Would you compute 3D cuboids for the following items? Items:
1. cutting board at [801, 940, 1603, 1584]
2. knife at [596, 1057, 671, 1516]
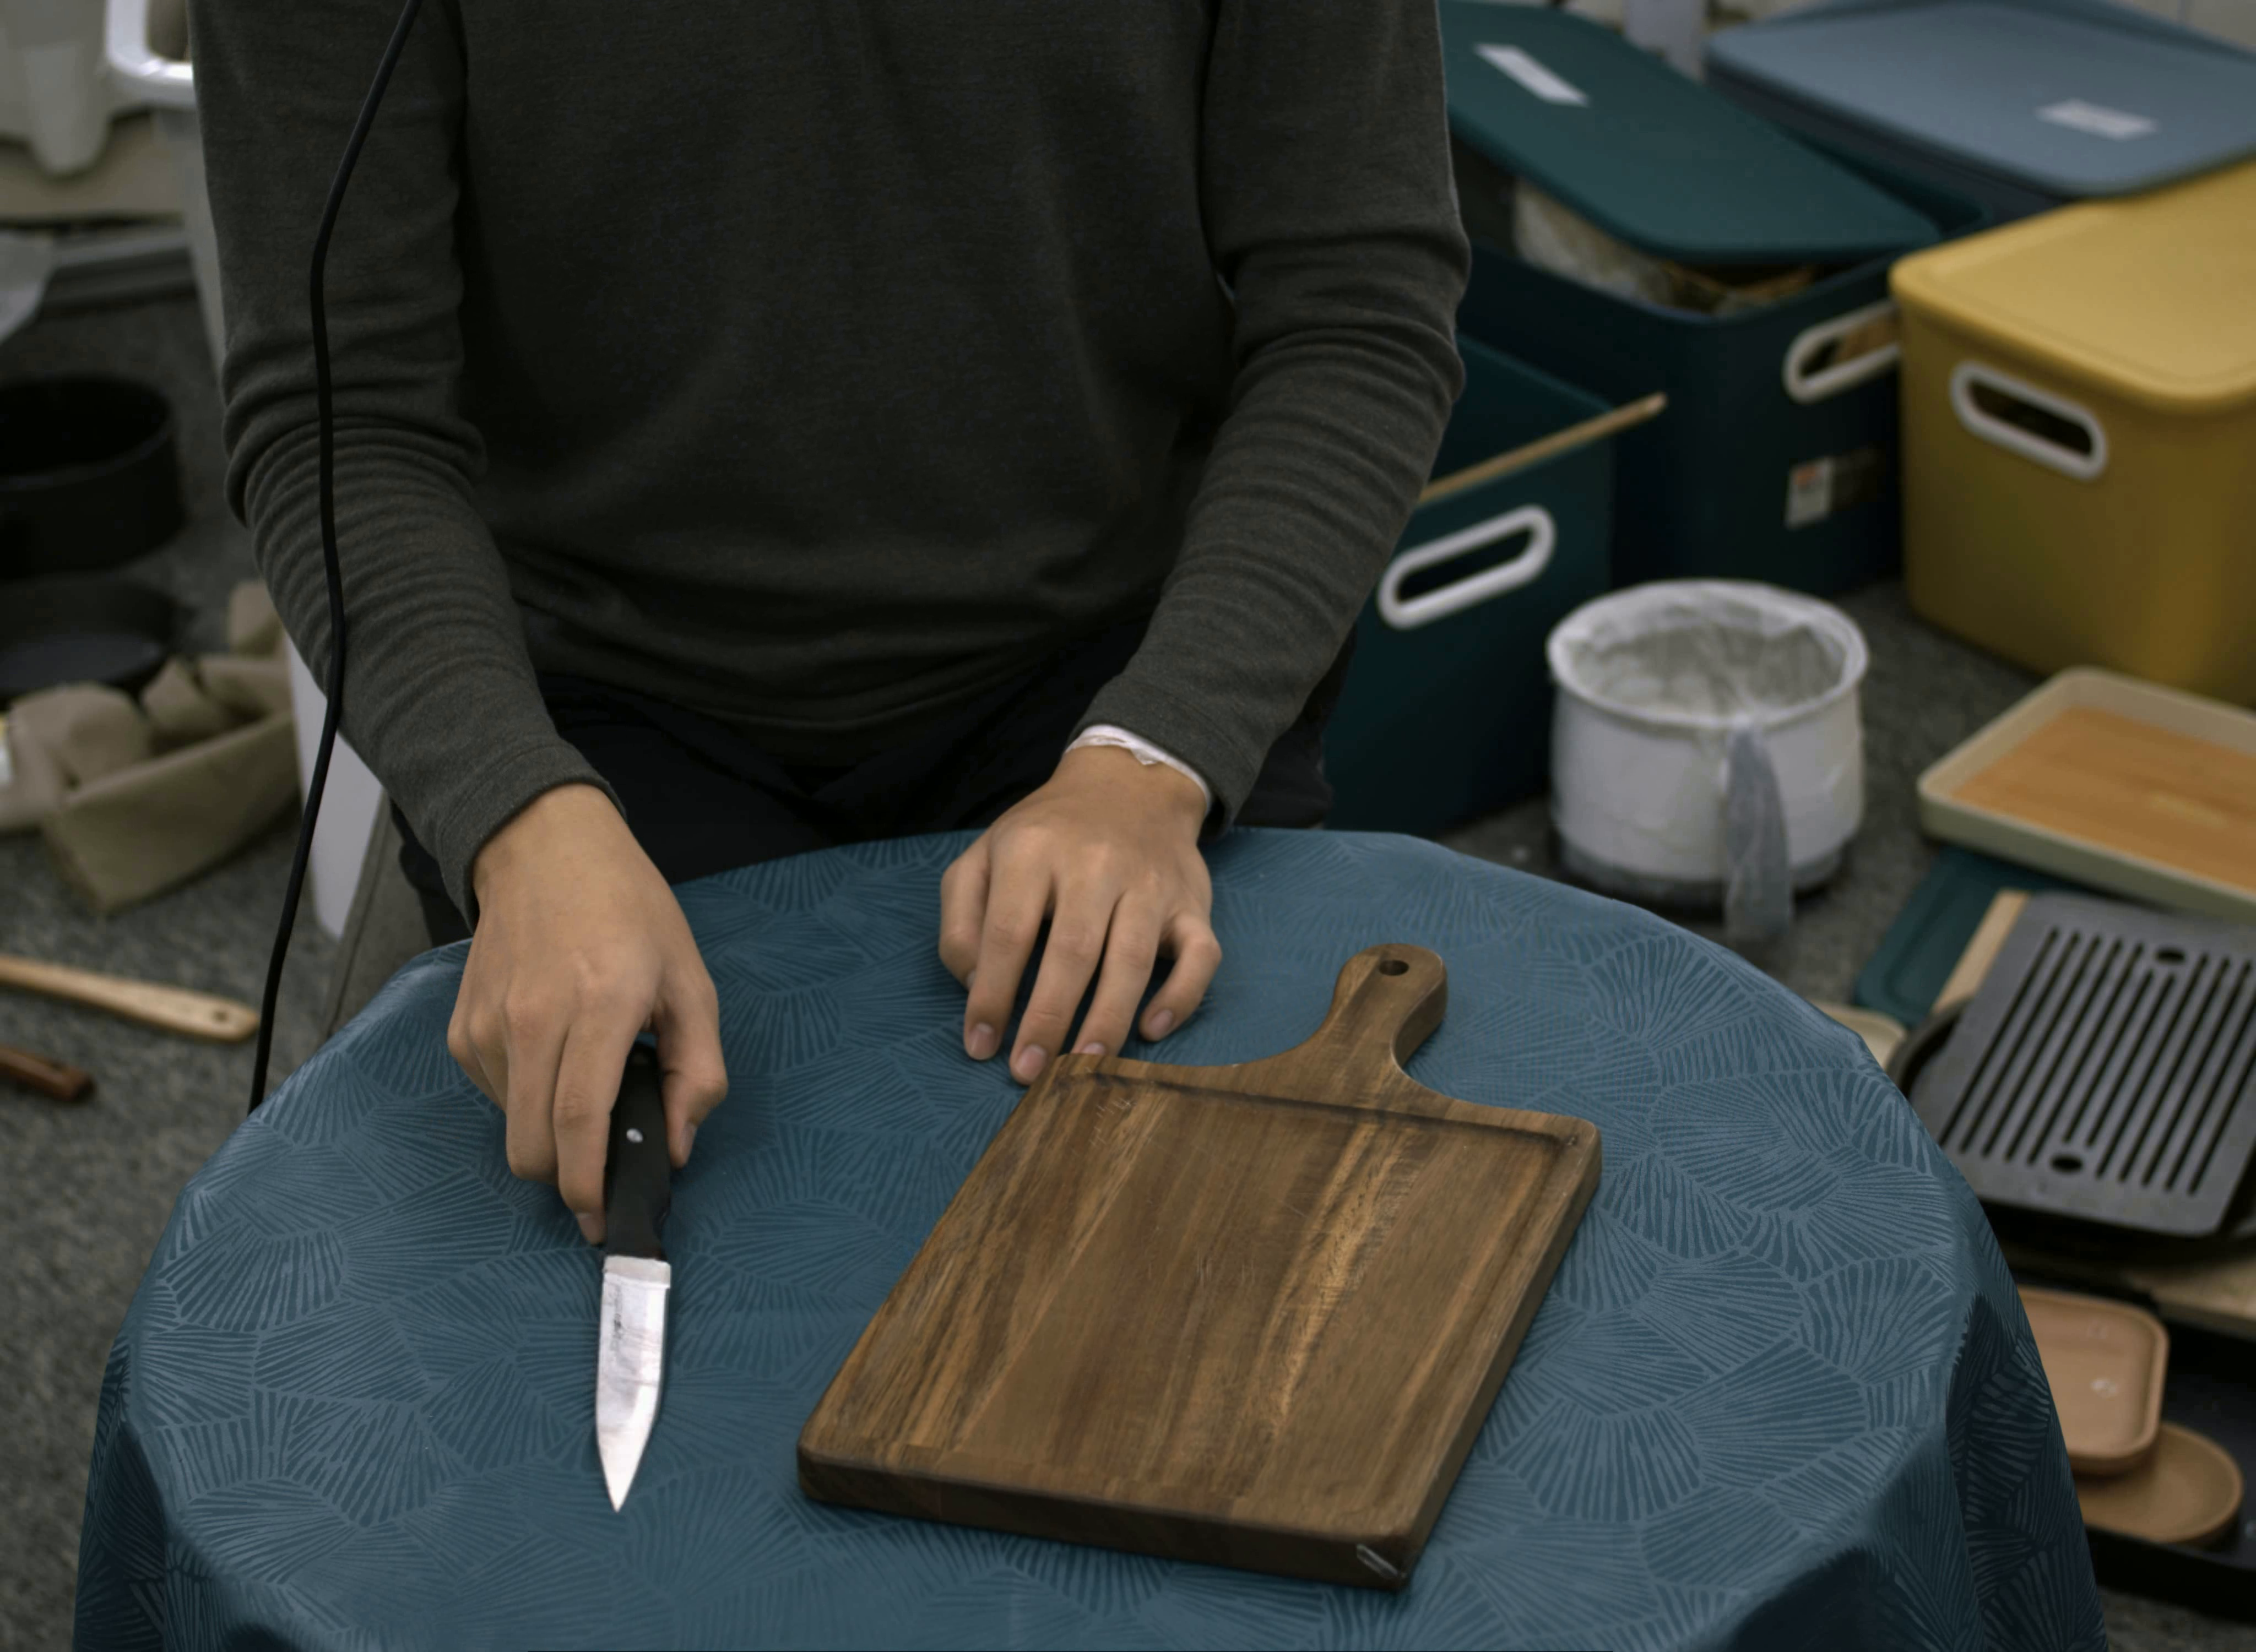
[{"bbox_3d":[0.043,0.128,1.823,0.199,0.023,0.358,7,28,17],"label":"cutting board"},{"bbox_3d":[-0.159,0.146,1.808,0.024,0.016,0.242,3,32,-6],"label":"knife"}]
